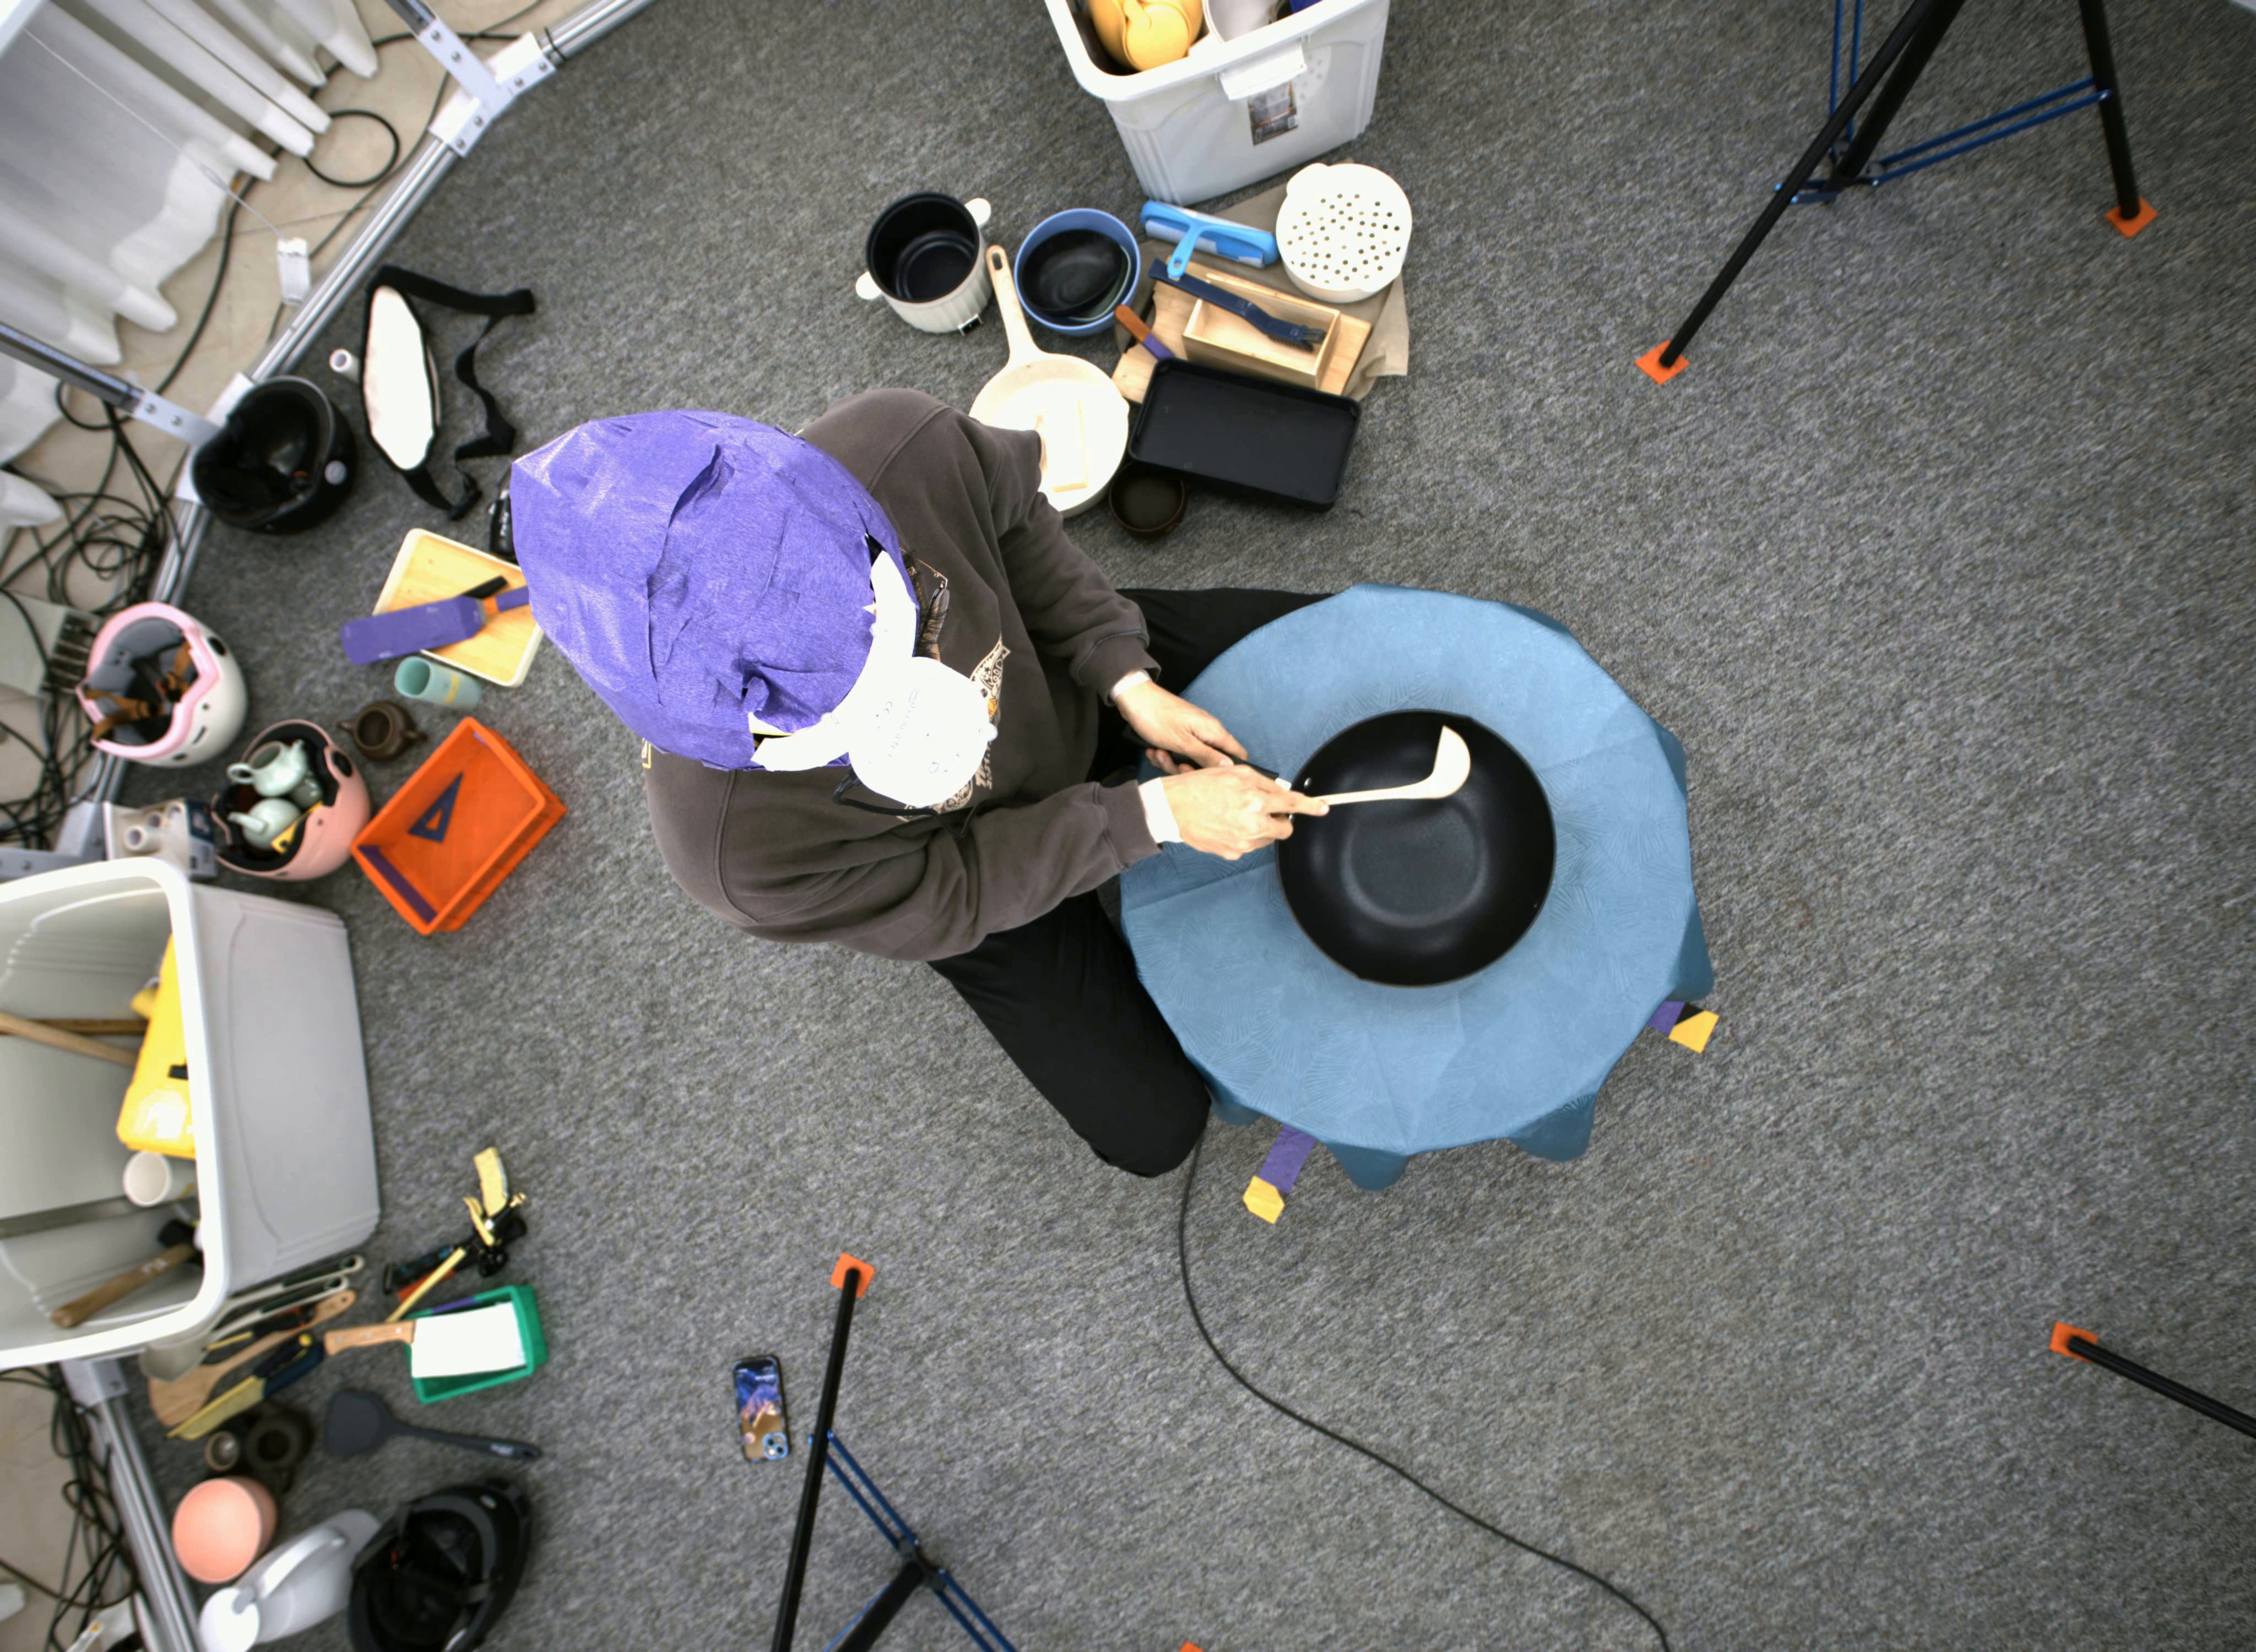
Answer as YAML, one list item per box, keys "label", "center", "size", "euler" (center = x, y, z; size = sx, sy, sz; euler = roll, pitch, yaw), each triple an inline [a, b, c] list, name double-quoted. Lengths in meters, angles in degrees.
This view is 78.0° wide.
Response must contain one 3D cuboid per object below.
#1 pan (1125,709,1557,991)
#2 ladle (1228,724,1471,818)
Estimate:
- label: "pan"
  center: [0.210, -0.011, 1.431]
  size: [0.463, 0.087, 0.288]
  euler: [24, 92, 13]
- label: "ladle"
  center: [0.215, -0.055, 1.370]
  size: [0.254, 0.074, 0.071]
  euler: [-7, 59, -8]
